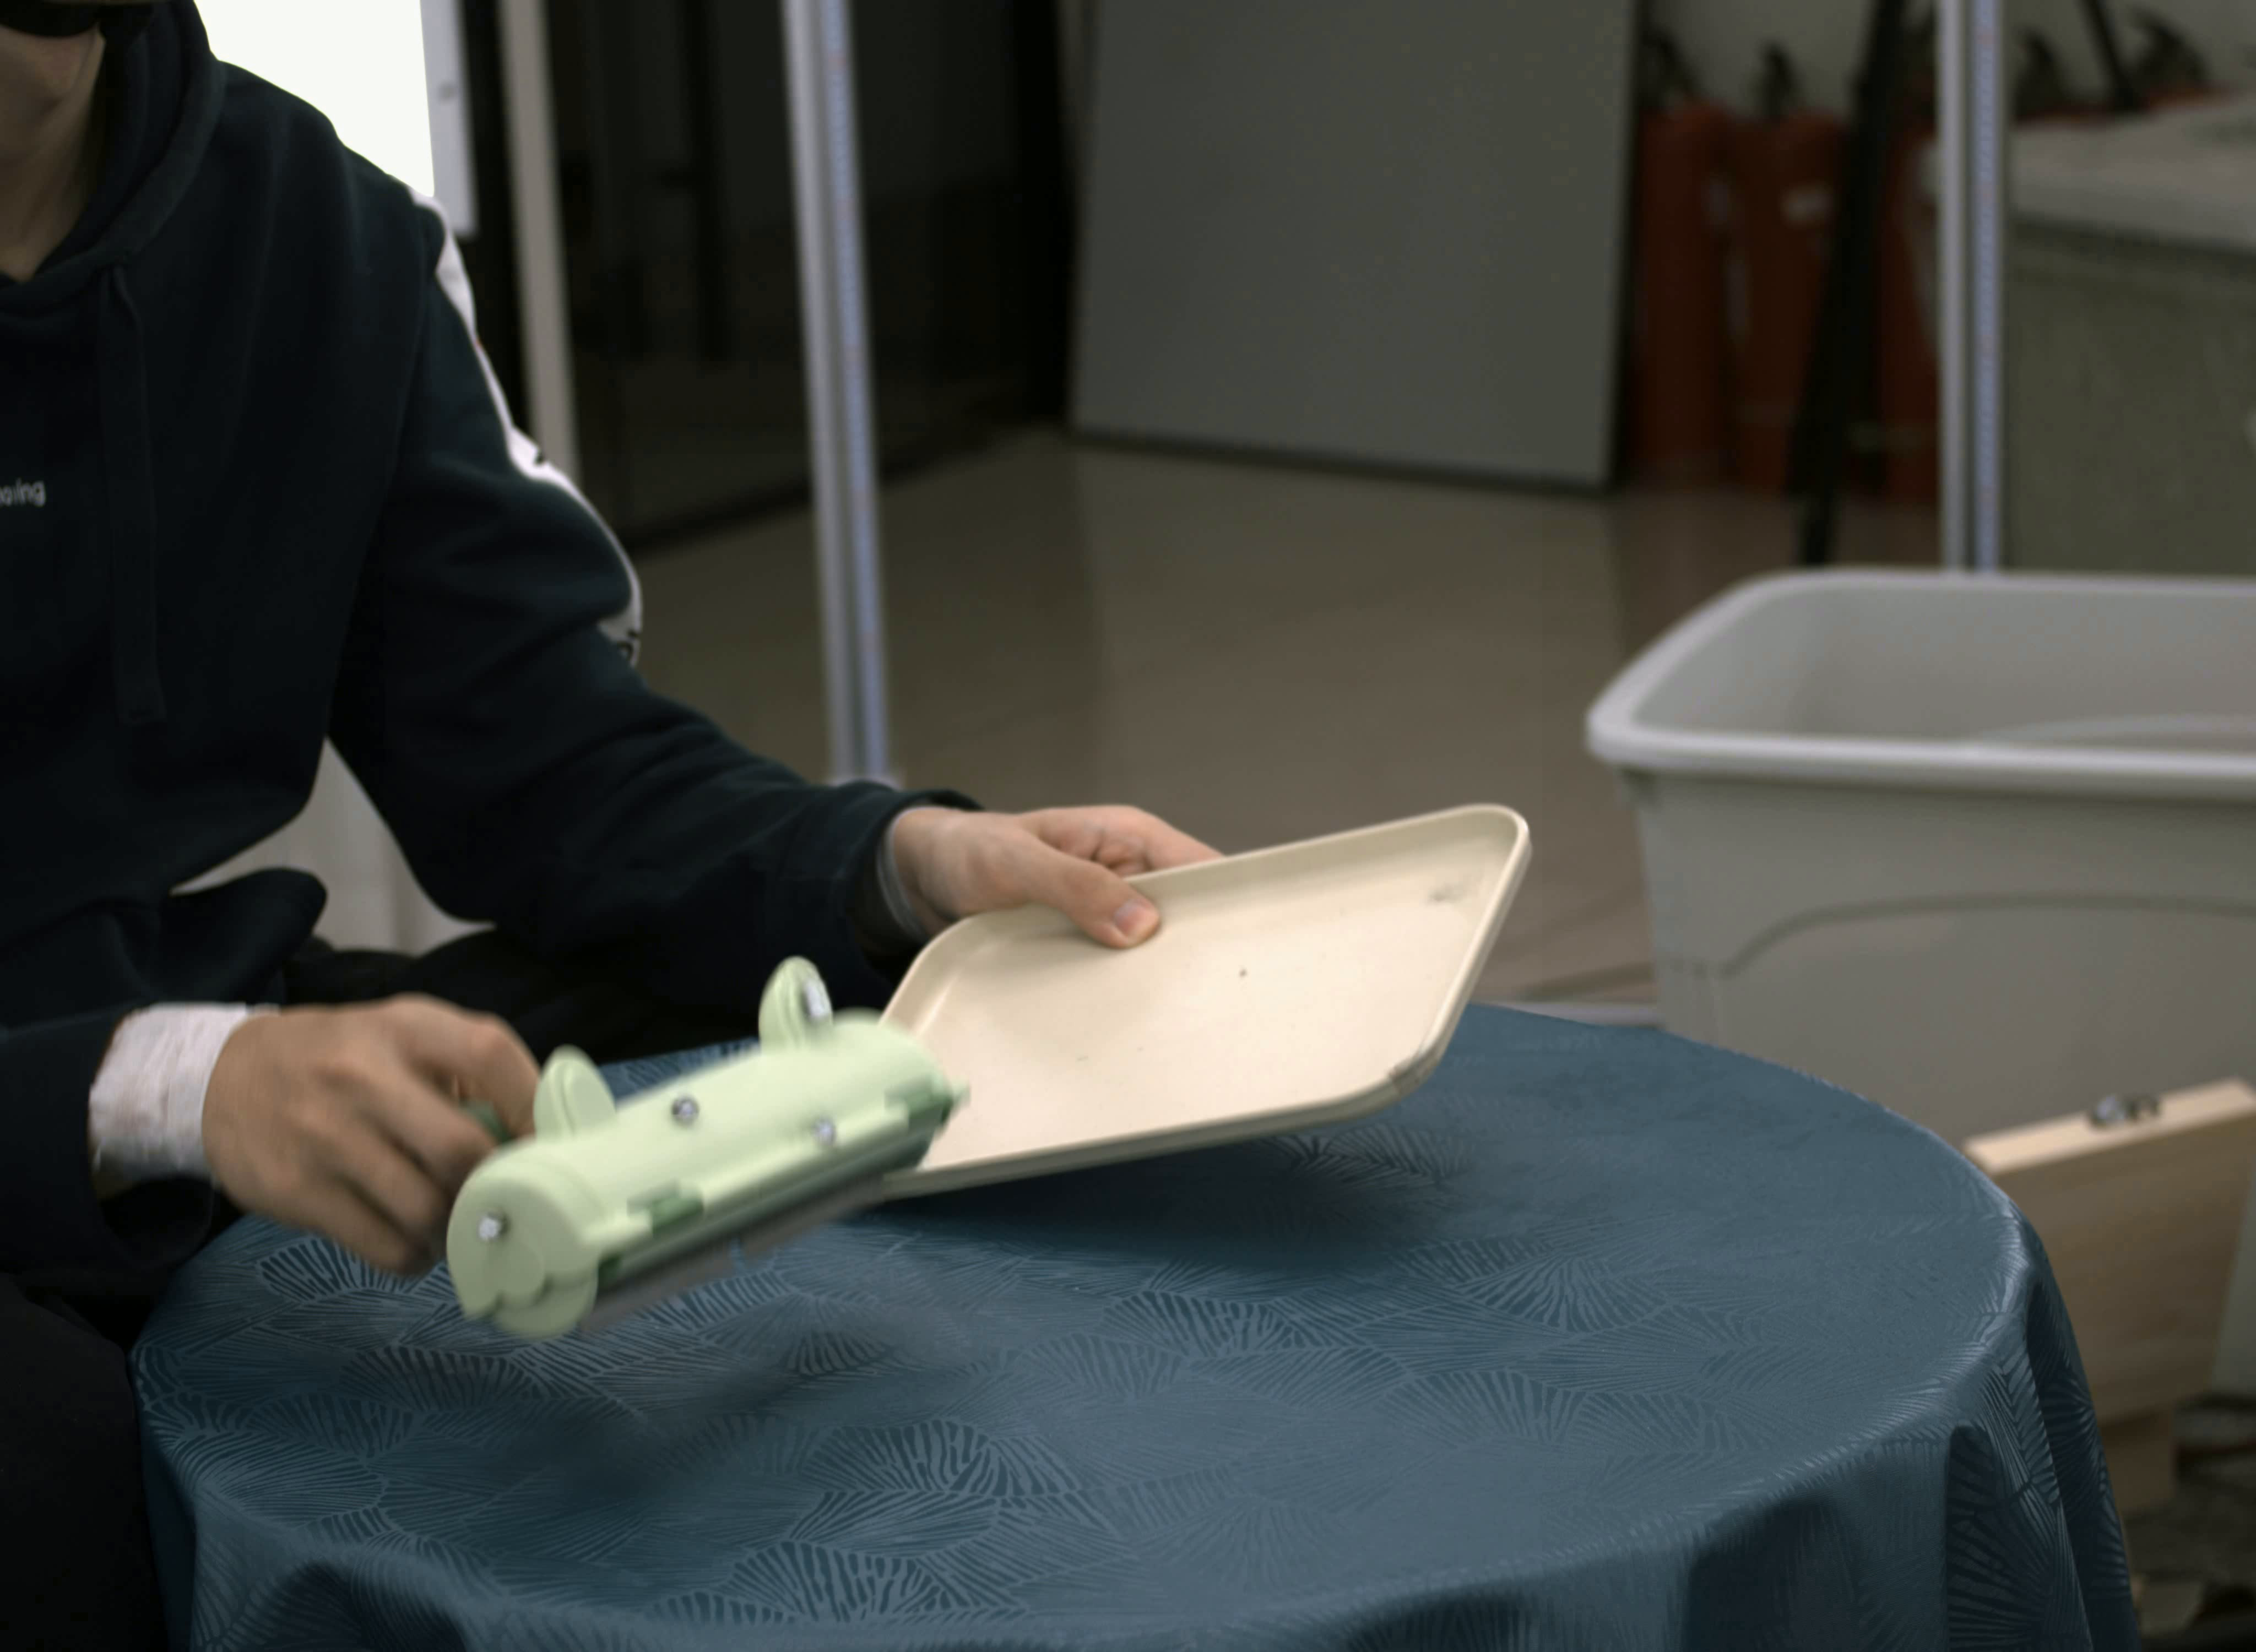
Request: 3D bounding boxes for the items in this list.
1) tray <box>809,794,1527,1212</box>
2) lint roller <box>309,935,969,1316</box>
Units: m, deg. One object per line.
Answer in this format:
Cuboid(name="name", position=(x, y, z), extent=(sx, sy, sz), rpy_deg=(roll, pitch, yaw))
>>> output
Cuboid(name="tray", position=(0.015, 0.061, 1.781), extent=(0.240, 0.017, 0.170), rpy_deg=(-14, 27, 29))
Cuboid(name="lint roller", position=(-0.170, 0.078, 1.608), extent=(0.184, 0.083, 0.195), rpy_deg=(9, 16, 30))
